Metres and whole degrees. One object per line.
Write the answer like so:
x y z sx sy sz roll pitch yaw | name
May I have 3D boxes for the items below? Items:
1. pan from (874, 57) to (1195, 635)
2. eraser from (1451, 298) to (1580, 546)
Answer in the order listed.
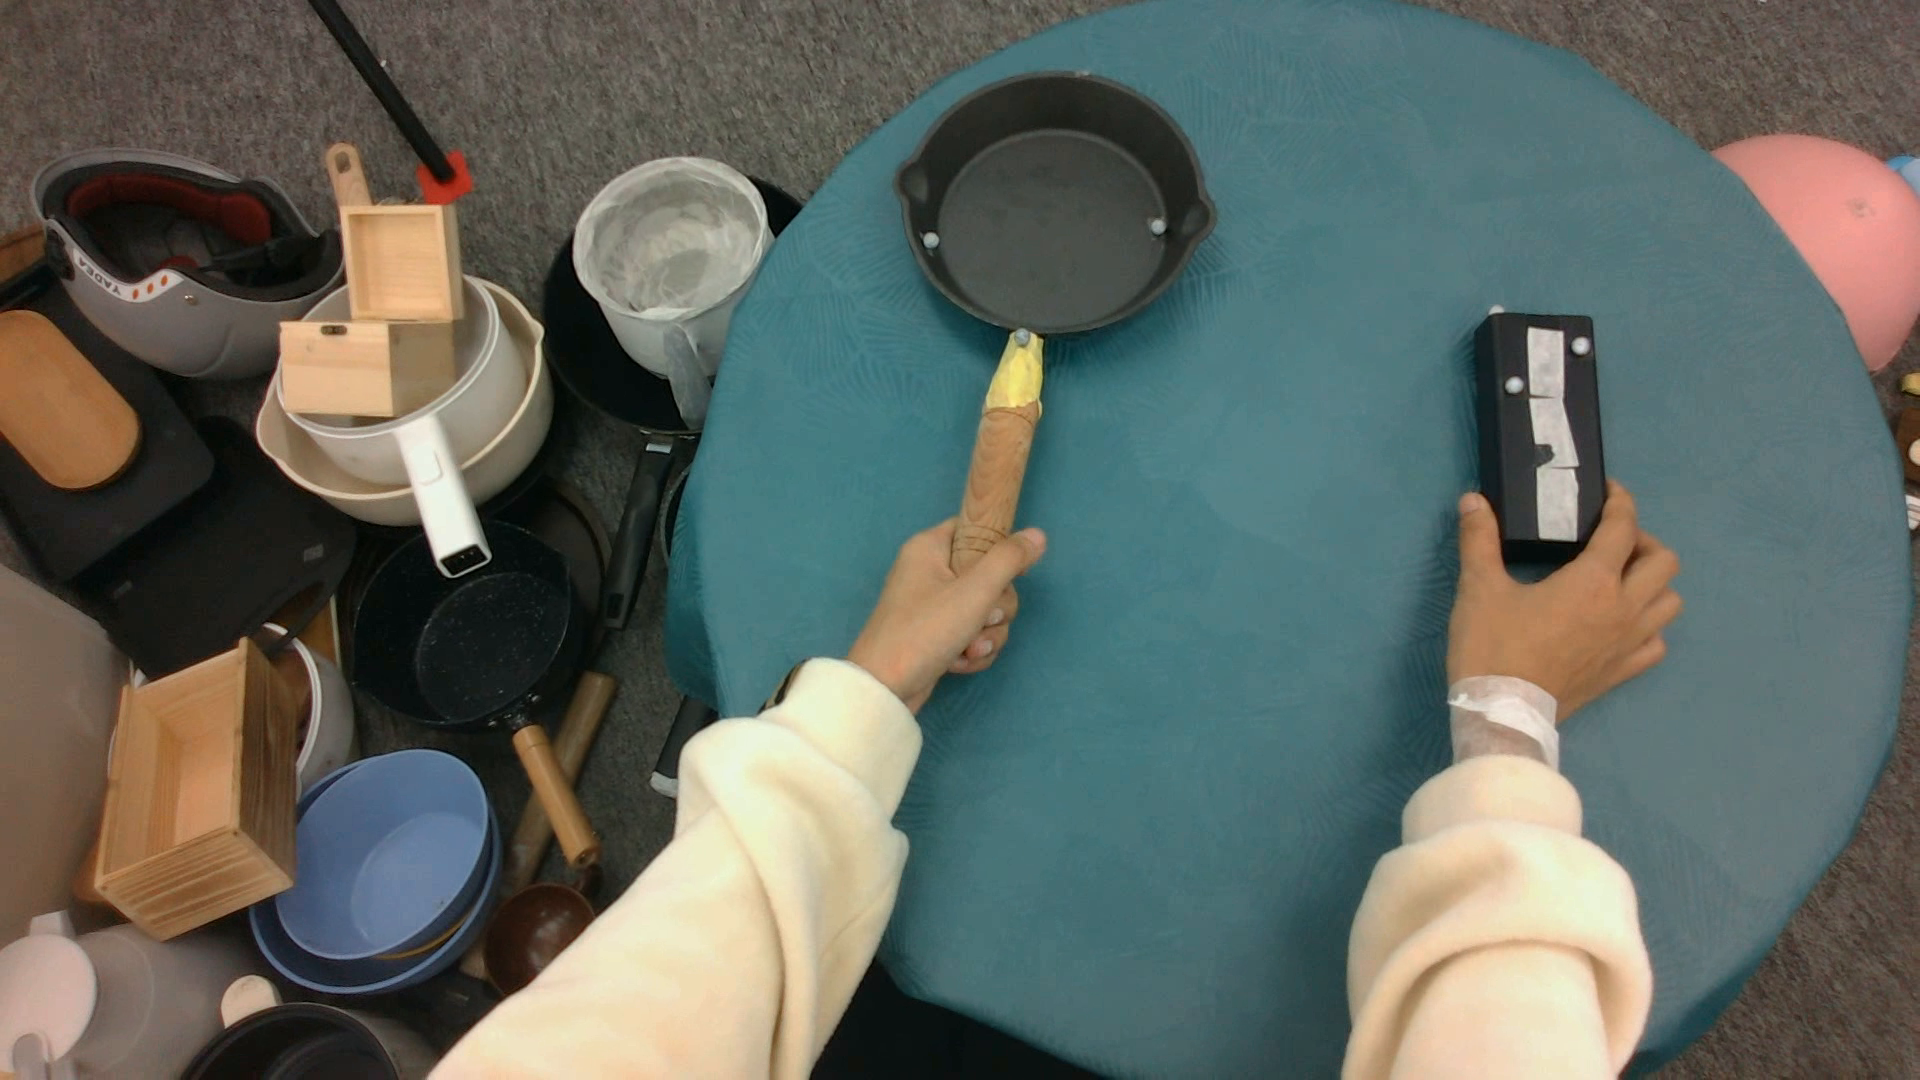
0.021 -0.104 0.693 0.169 0.049 0.325 11 70 5 | pan
0.273 -0.060 0.682 0.053 0.030 0.126 4 72 4 | eraser
